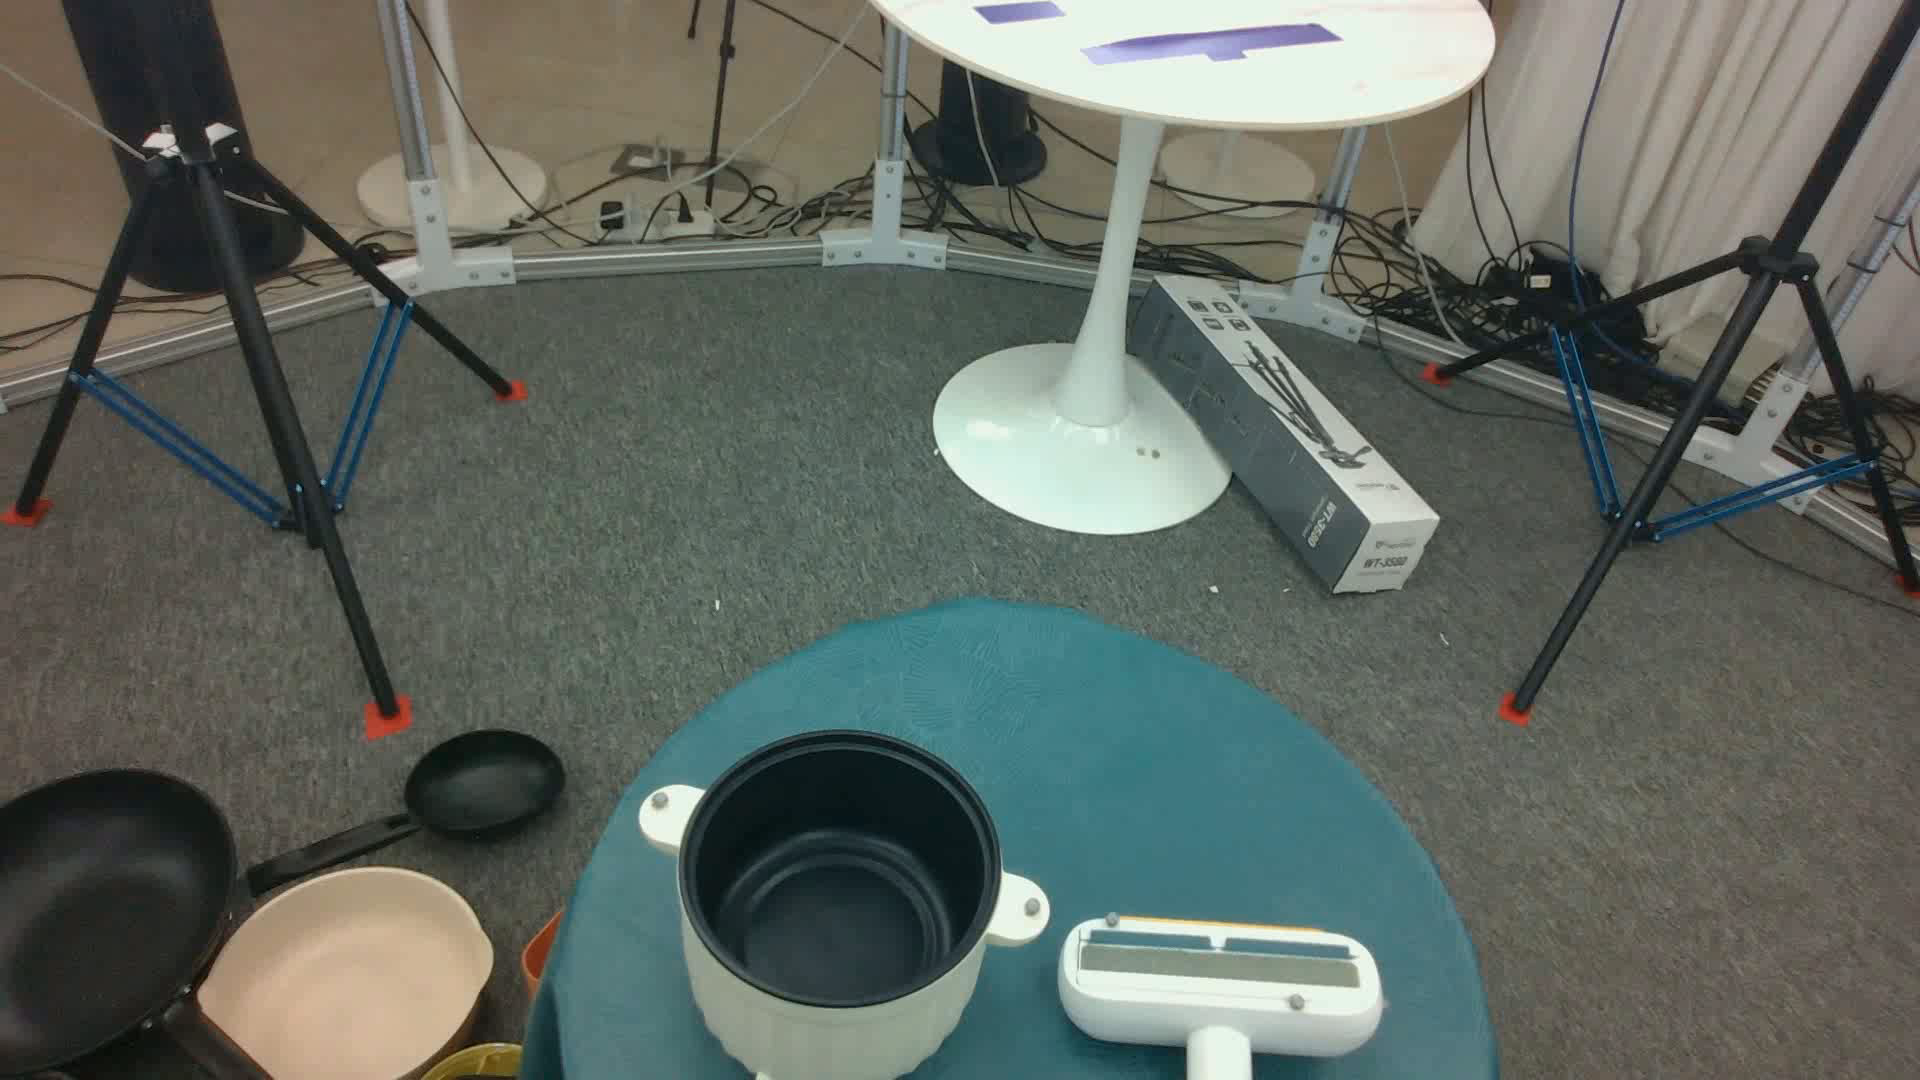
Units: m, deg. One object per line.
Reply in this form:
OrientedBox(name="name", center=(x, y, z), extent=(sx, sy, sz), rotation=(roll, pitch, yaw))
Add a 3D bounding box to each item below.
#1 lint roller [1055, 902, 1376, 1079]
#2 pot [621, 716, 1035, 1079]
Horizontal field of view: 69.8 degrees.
OrientedBox(name="lint roller", center=(0.145, 0.310, 0.808), extent=(0.193, 0.074, 0.193), rotation=(7, 44, 6))
OrientedBox(name="pot", center=(-0.082, 0.213, 0.821), extent=(0.240, 0.142, 0.191), rotation=(15, 45, 4))
